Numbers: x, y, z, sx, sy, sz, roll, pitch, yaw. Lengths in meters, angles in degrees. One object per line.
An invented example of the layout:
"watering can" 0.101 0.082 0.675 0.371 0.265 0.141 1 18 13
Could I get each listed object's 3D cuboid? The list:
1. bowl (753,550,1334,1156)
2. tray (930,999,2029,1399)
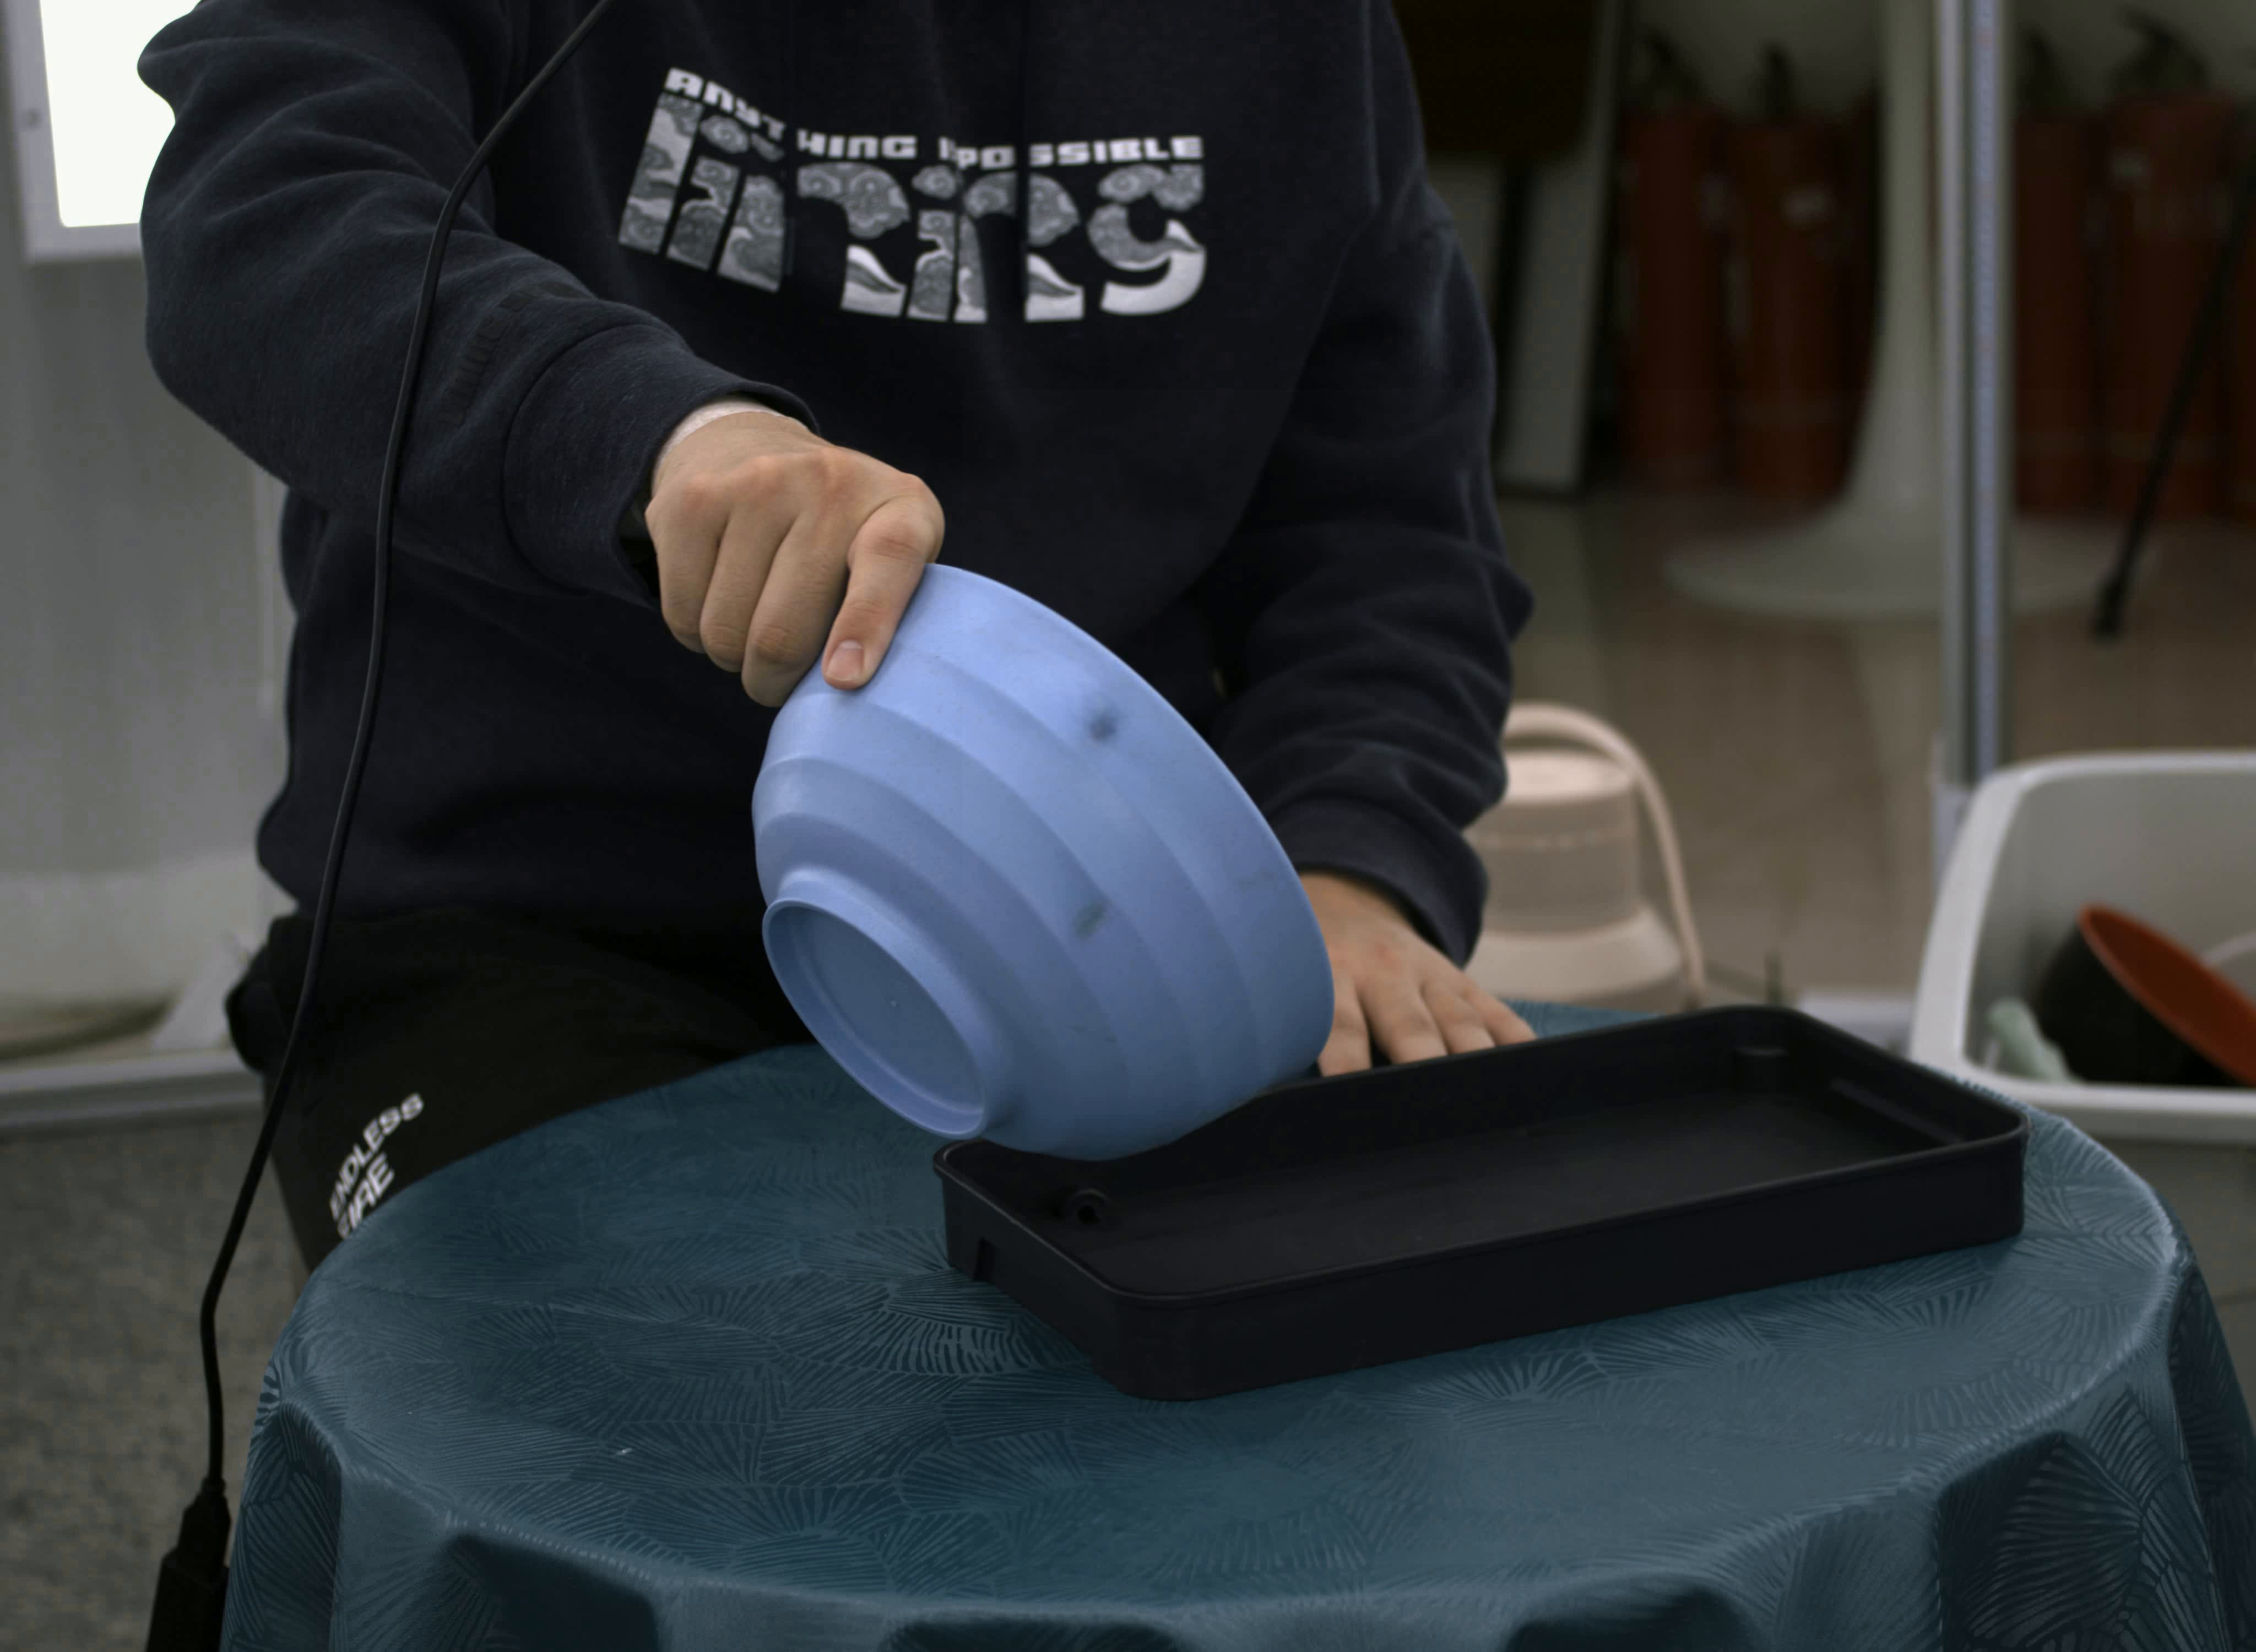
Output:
"bowl" -0.042 0.025 1.583 0.094 0.196 0.198 -42 31 -23
"tray" 0.110 0.113 1.696 0.311 0.037 0.186 -9 14 -20
